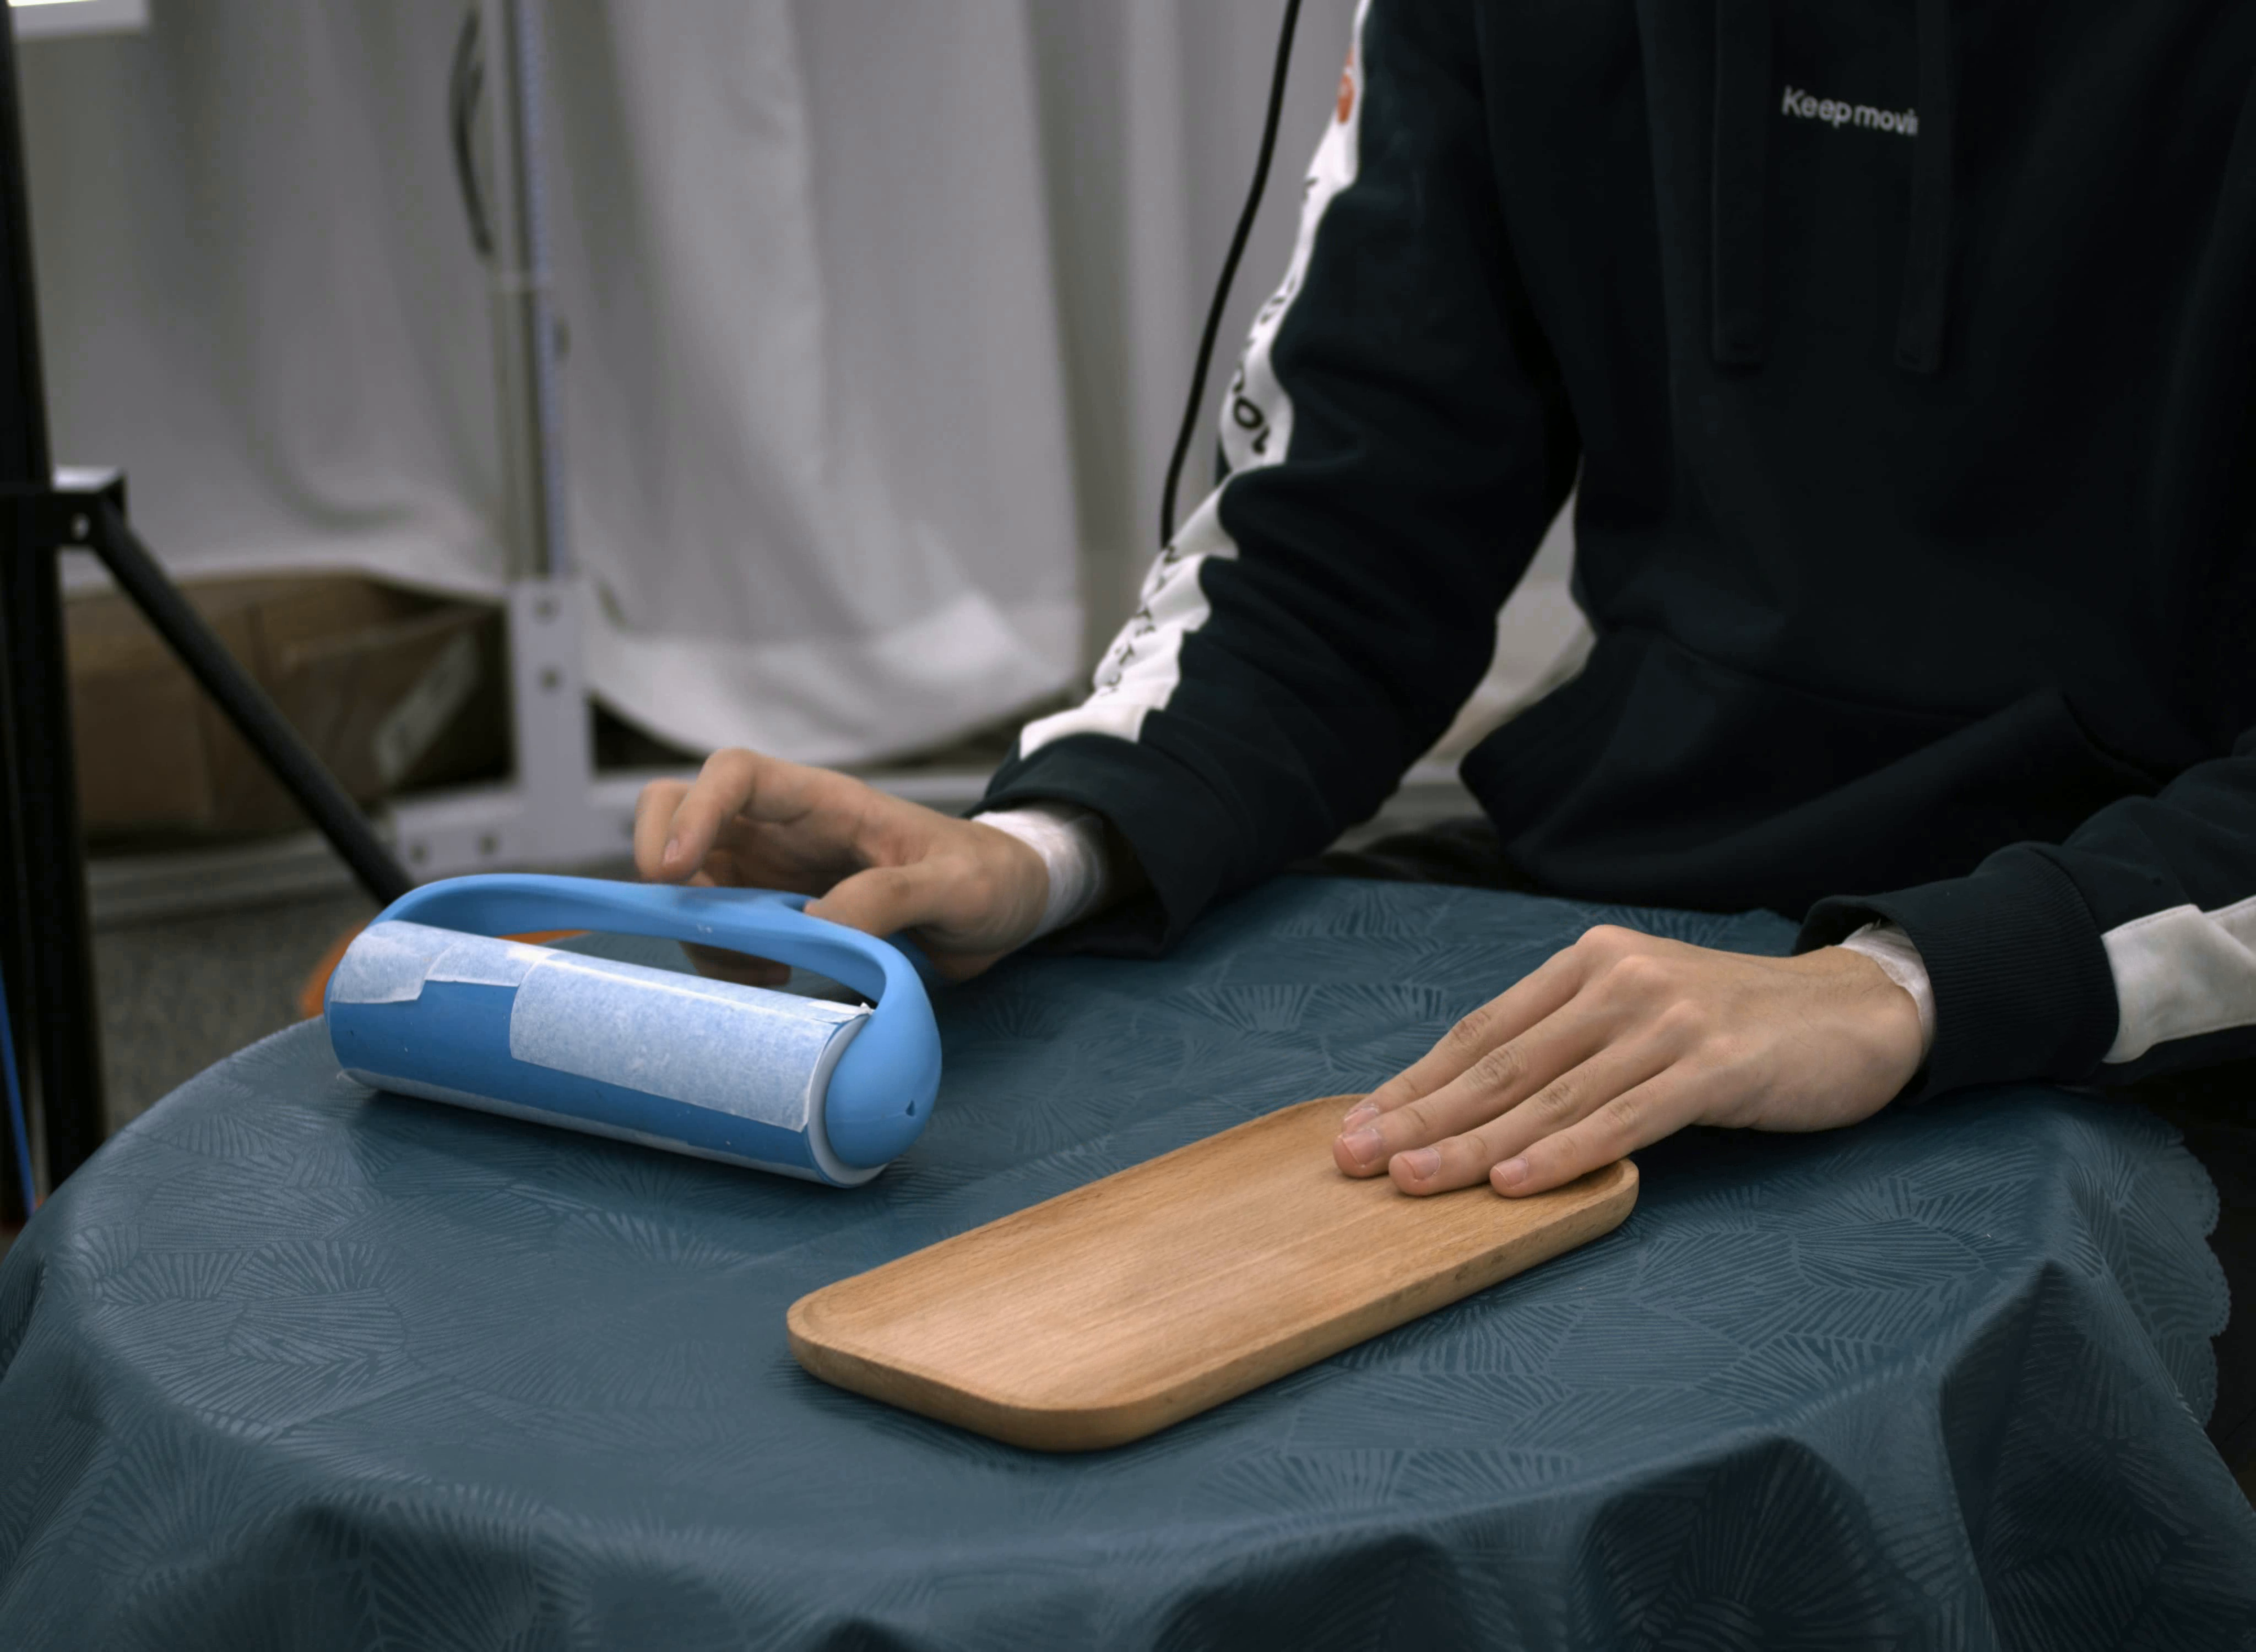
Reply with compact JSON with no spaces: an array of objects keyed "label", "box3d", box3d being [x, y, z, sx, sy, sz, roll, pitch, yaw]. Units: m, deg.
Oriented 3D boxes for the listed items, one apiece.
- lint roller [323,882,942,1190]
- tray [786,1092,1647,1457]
[{"label":"lint roller","box3d":[-0.123,0.052,1.671,0.233,0.068,0.177,6,19,34]},{"label":"tray","box3d":[0.028,0.122,1.473,0.245,0.023,0.133,-17,23,-42]}]
